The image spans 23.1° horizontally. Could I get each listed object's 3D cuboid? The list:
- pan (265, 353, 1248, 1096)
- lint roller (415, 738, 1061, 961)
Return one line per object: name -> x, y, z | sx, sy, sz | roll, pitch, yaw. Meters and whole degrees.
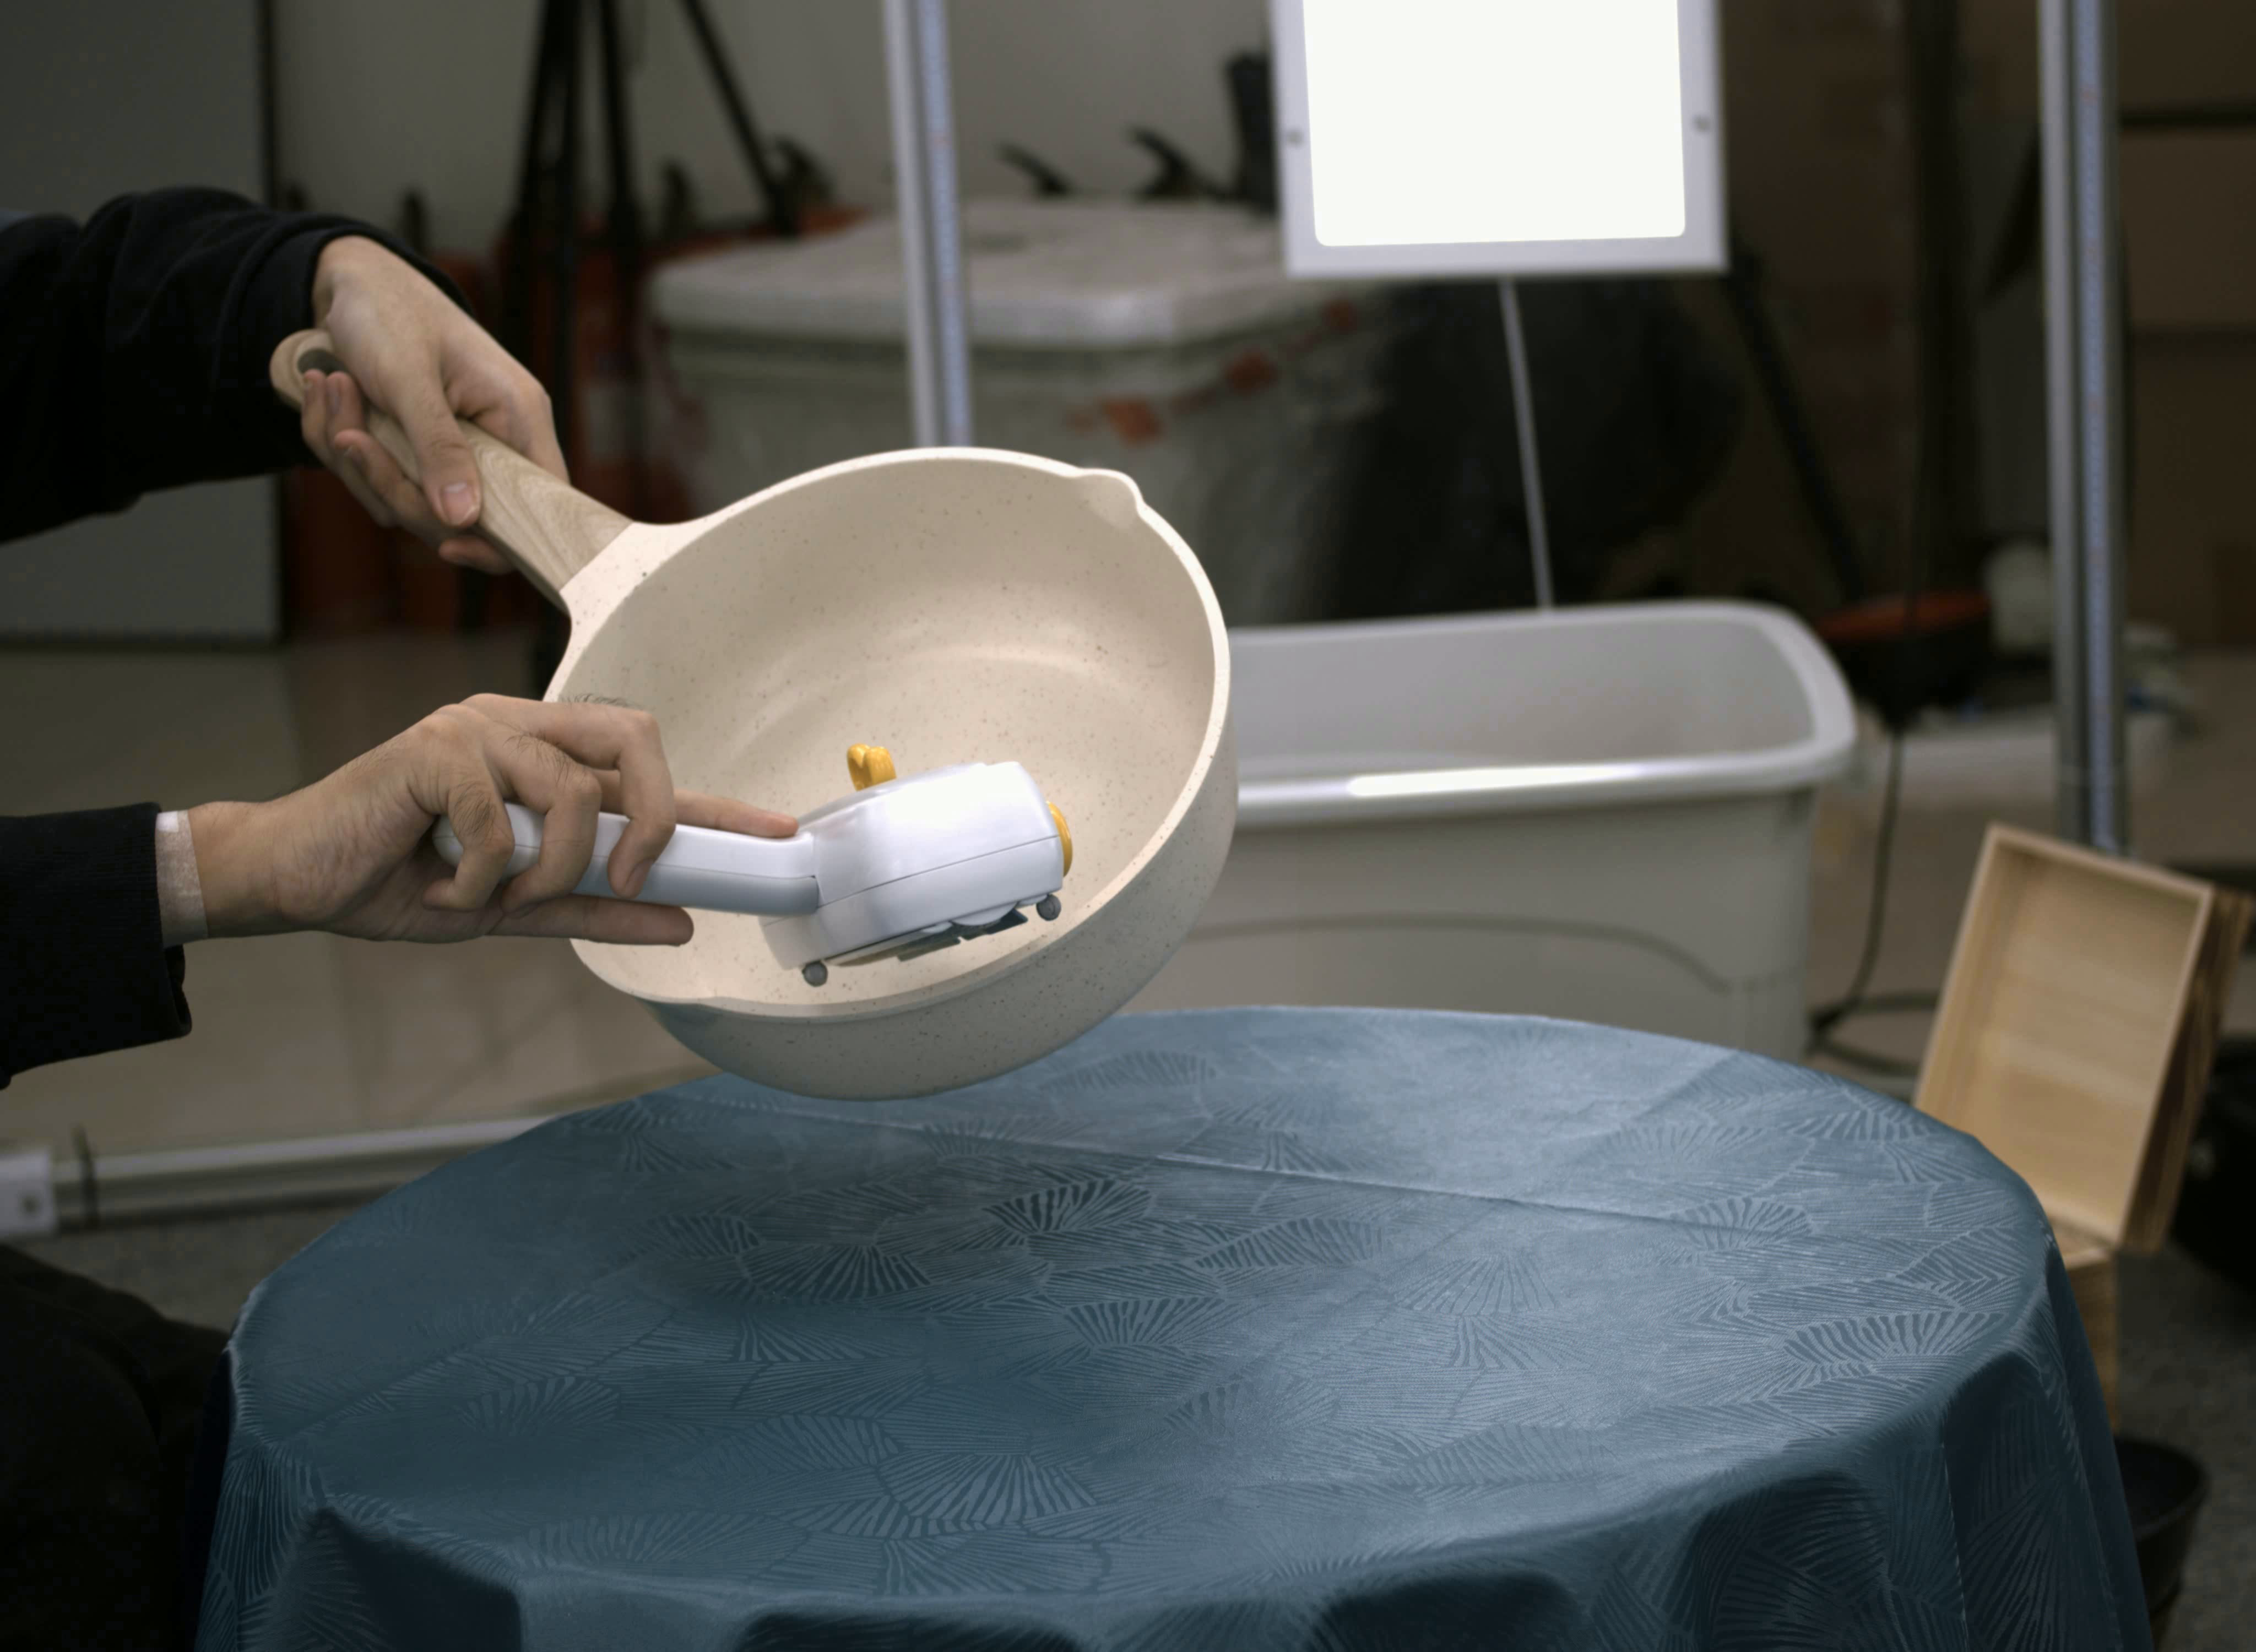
pan -> -0.144, -0.056, 1.962 | 0.442, 0.101, 0.260 | 29, 69, 35
lint roller -> -0.133, 0.013, 1.771 | 0.189, 0.074, 0.195 | -6, 3, -17
